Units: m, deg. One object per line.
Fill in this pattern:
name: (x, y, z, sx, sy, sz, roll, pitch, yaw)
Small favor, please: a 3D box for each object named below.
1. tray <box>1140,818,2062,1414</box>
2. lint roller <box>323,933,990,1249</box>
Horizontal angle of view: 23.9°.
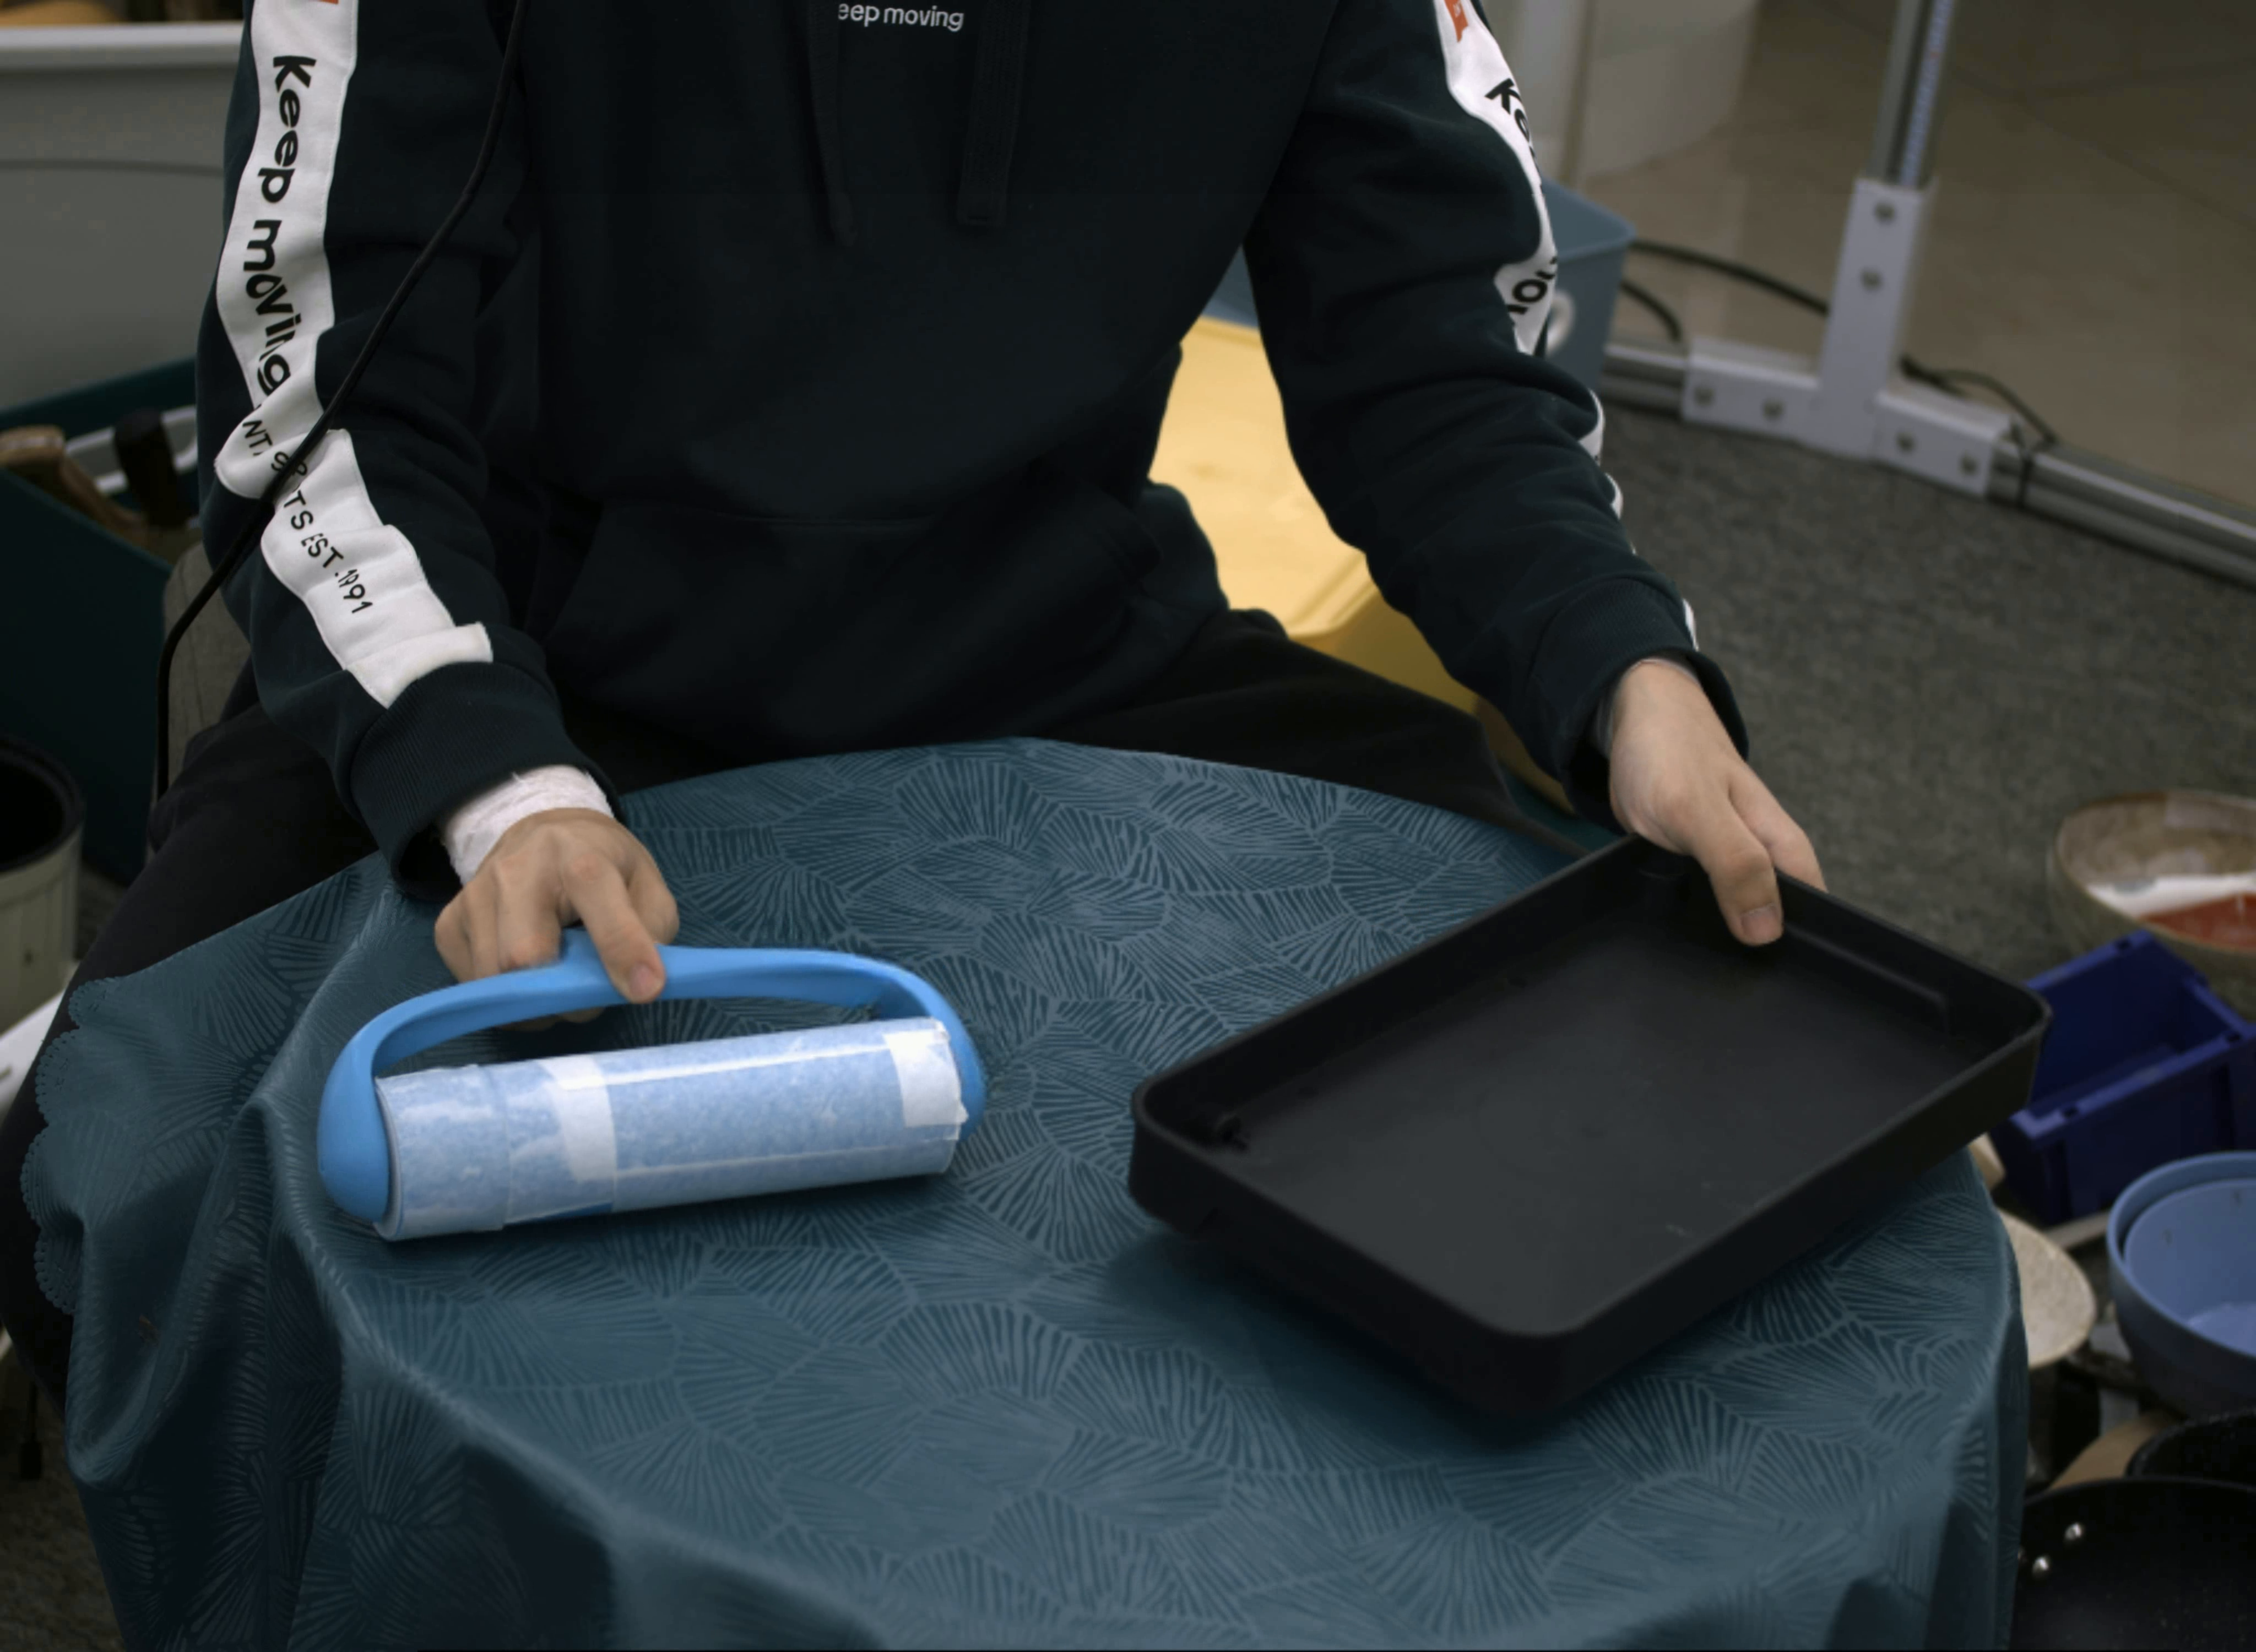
tray: (0.164, 0.091, 1.809, 0.185, 0.037, 0.317, 25, 35, 32)
lint roller: (-0.178, 0.071, 1.799, 0.227, 0.067, 0.182, -9, 31, -23)
